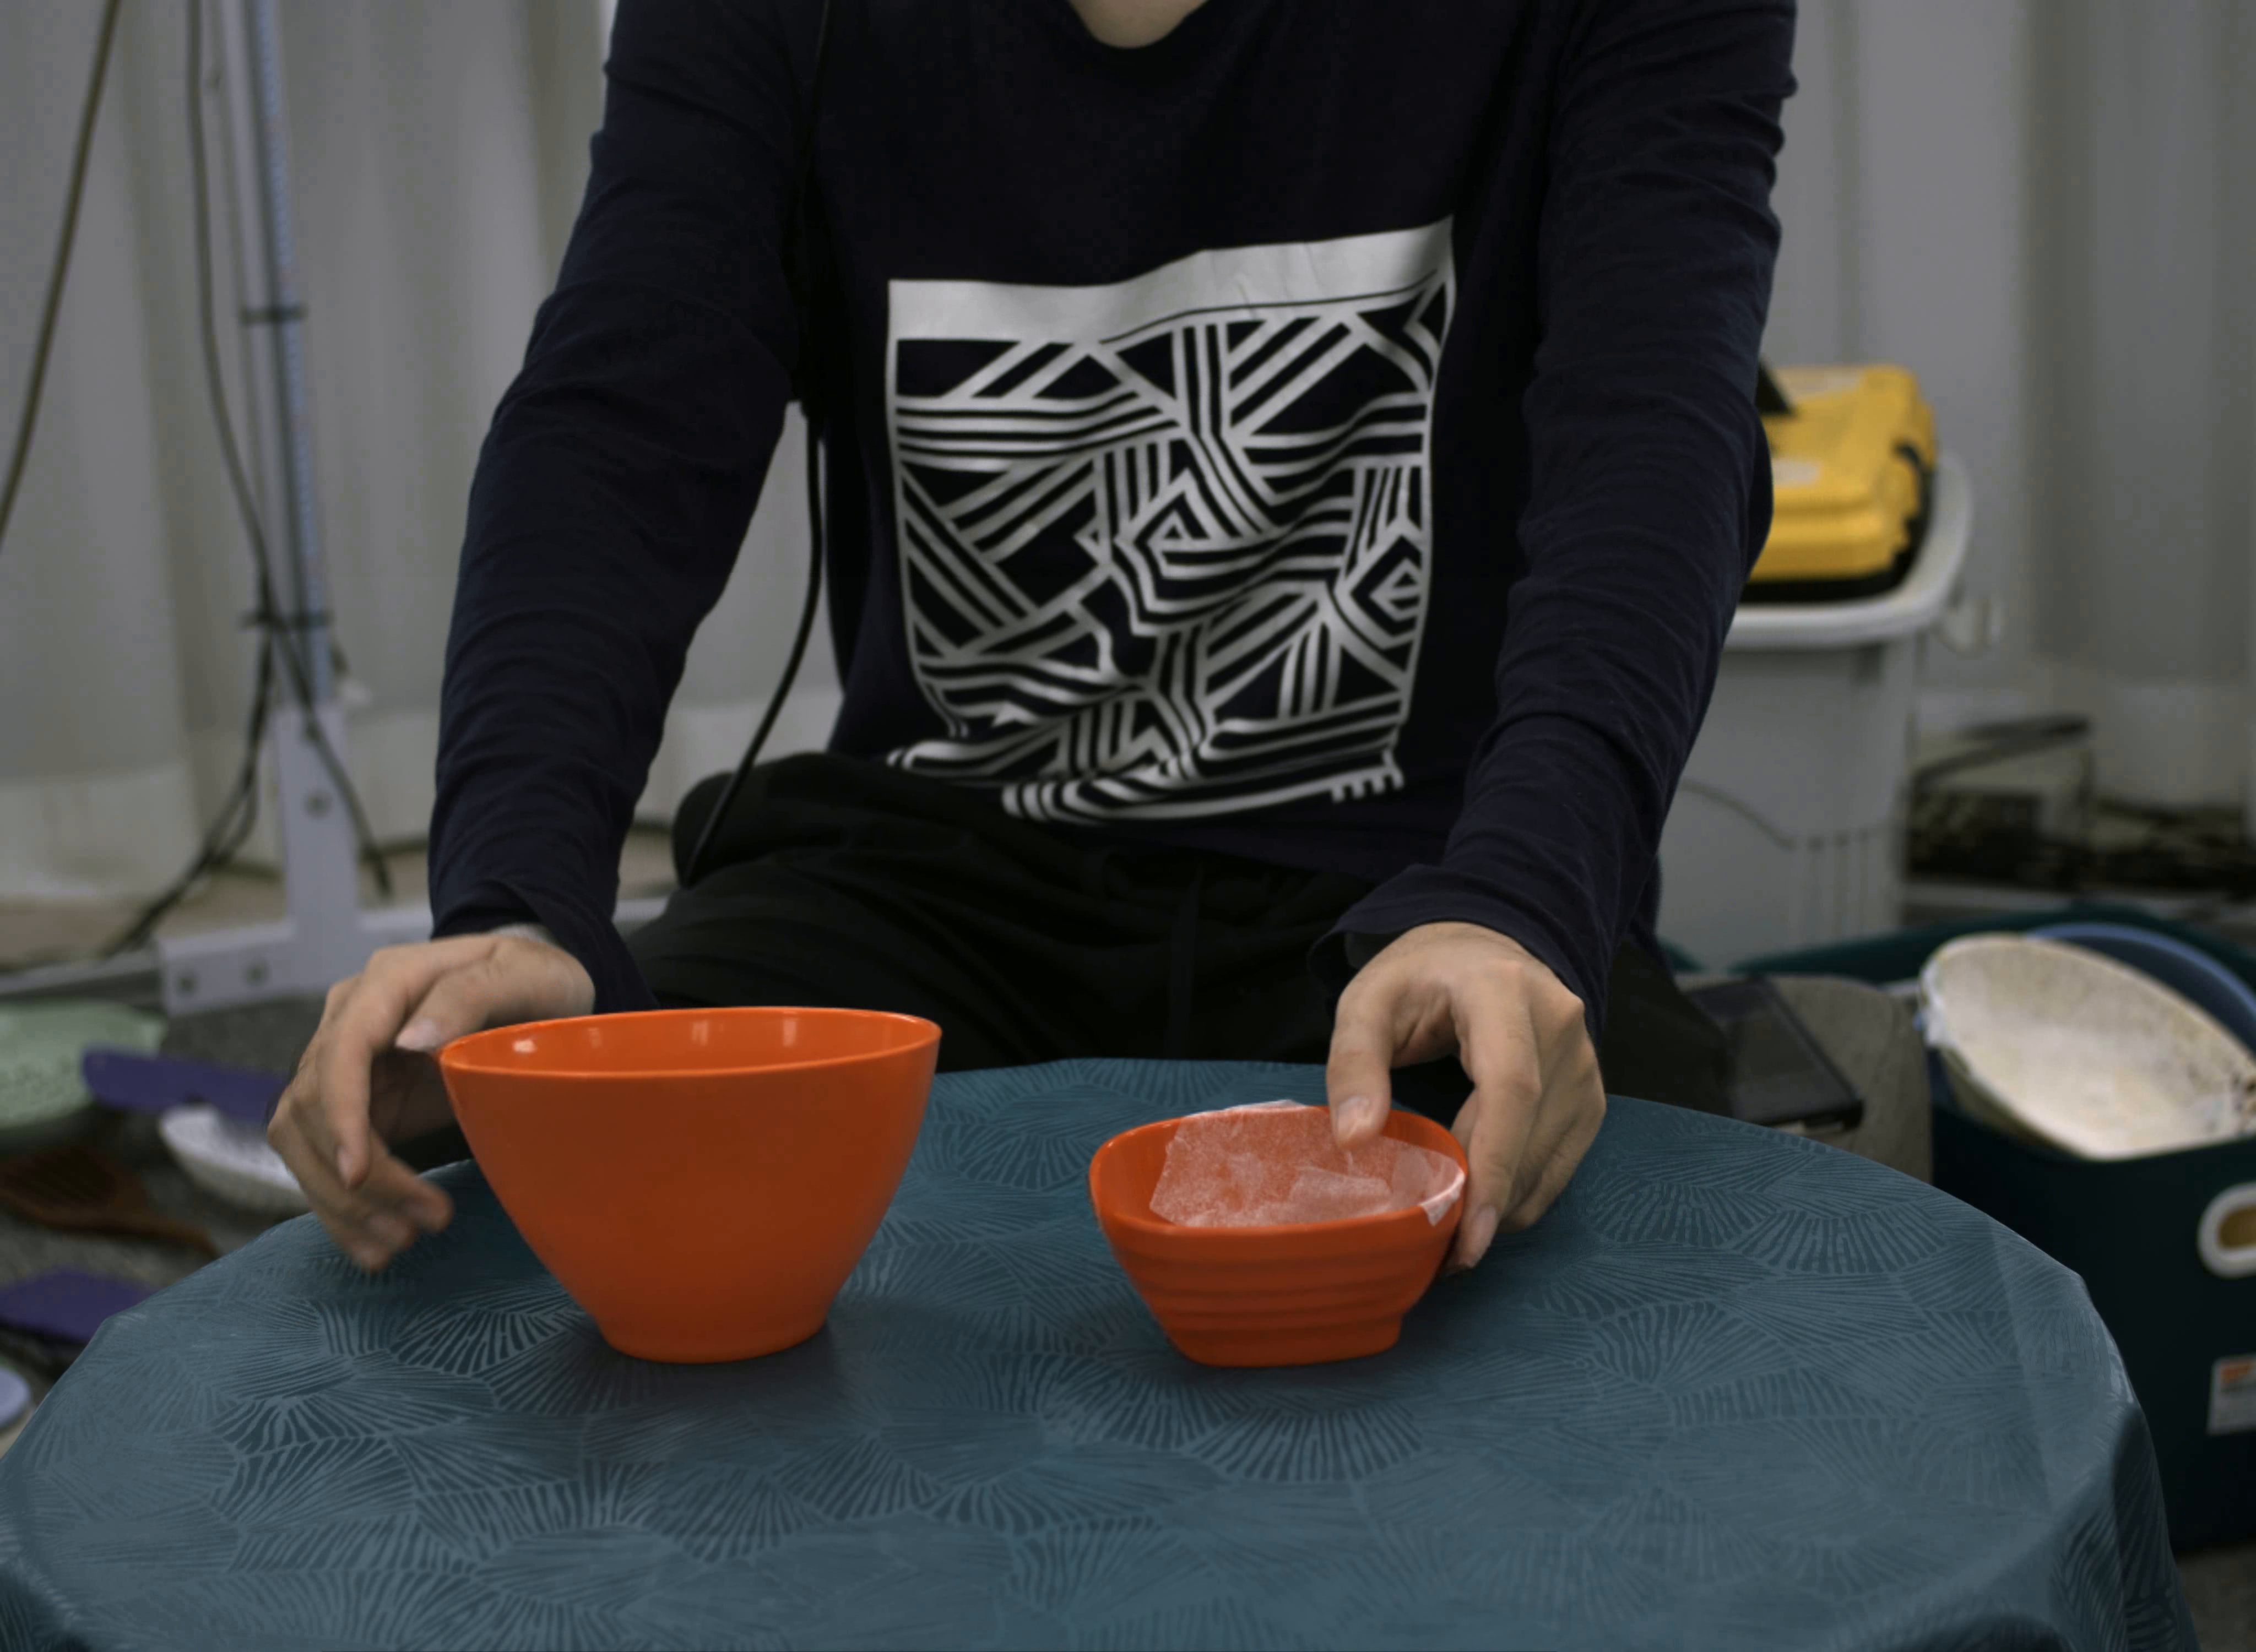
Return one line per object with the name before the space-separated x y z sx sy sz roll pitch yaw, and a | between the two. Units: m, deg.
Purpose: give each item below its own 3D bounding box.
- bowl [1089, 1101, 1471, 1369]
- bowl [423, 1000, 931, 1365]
bowl | 0.045 0.121 1.585 0.118 0.051 0.120 -5 15 1
bowl | -0.128 0.101 1.595 0.147 0.104 0.149 -3 15 1
